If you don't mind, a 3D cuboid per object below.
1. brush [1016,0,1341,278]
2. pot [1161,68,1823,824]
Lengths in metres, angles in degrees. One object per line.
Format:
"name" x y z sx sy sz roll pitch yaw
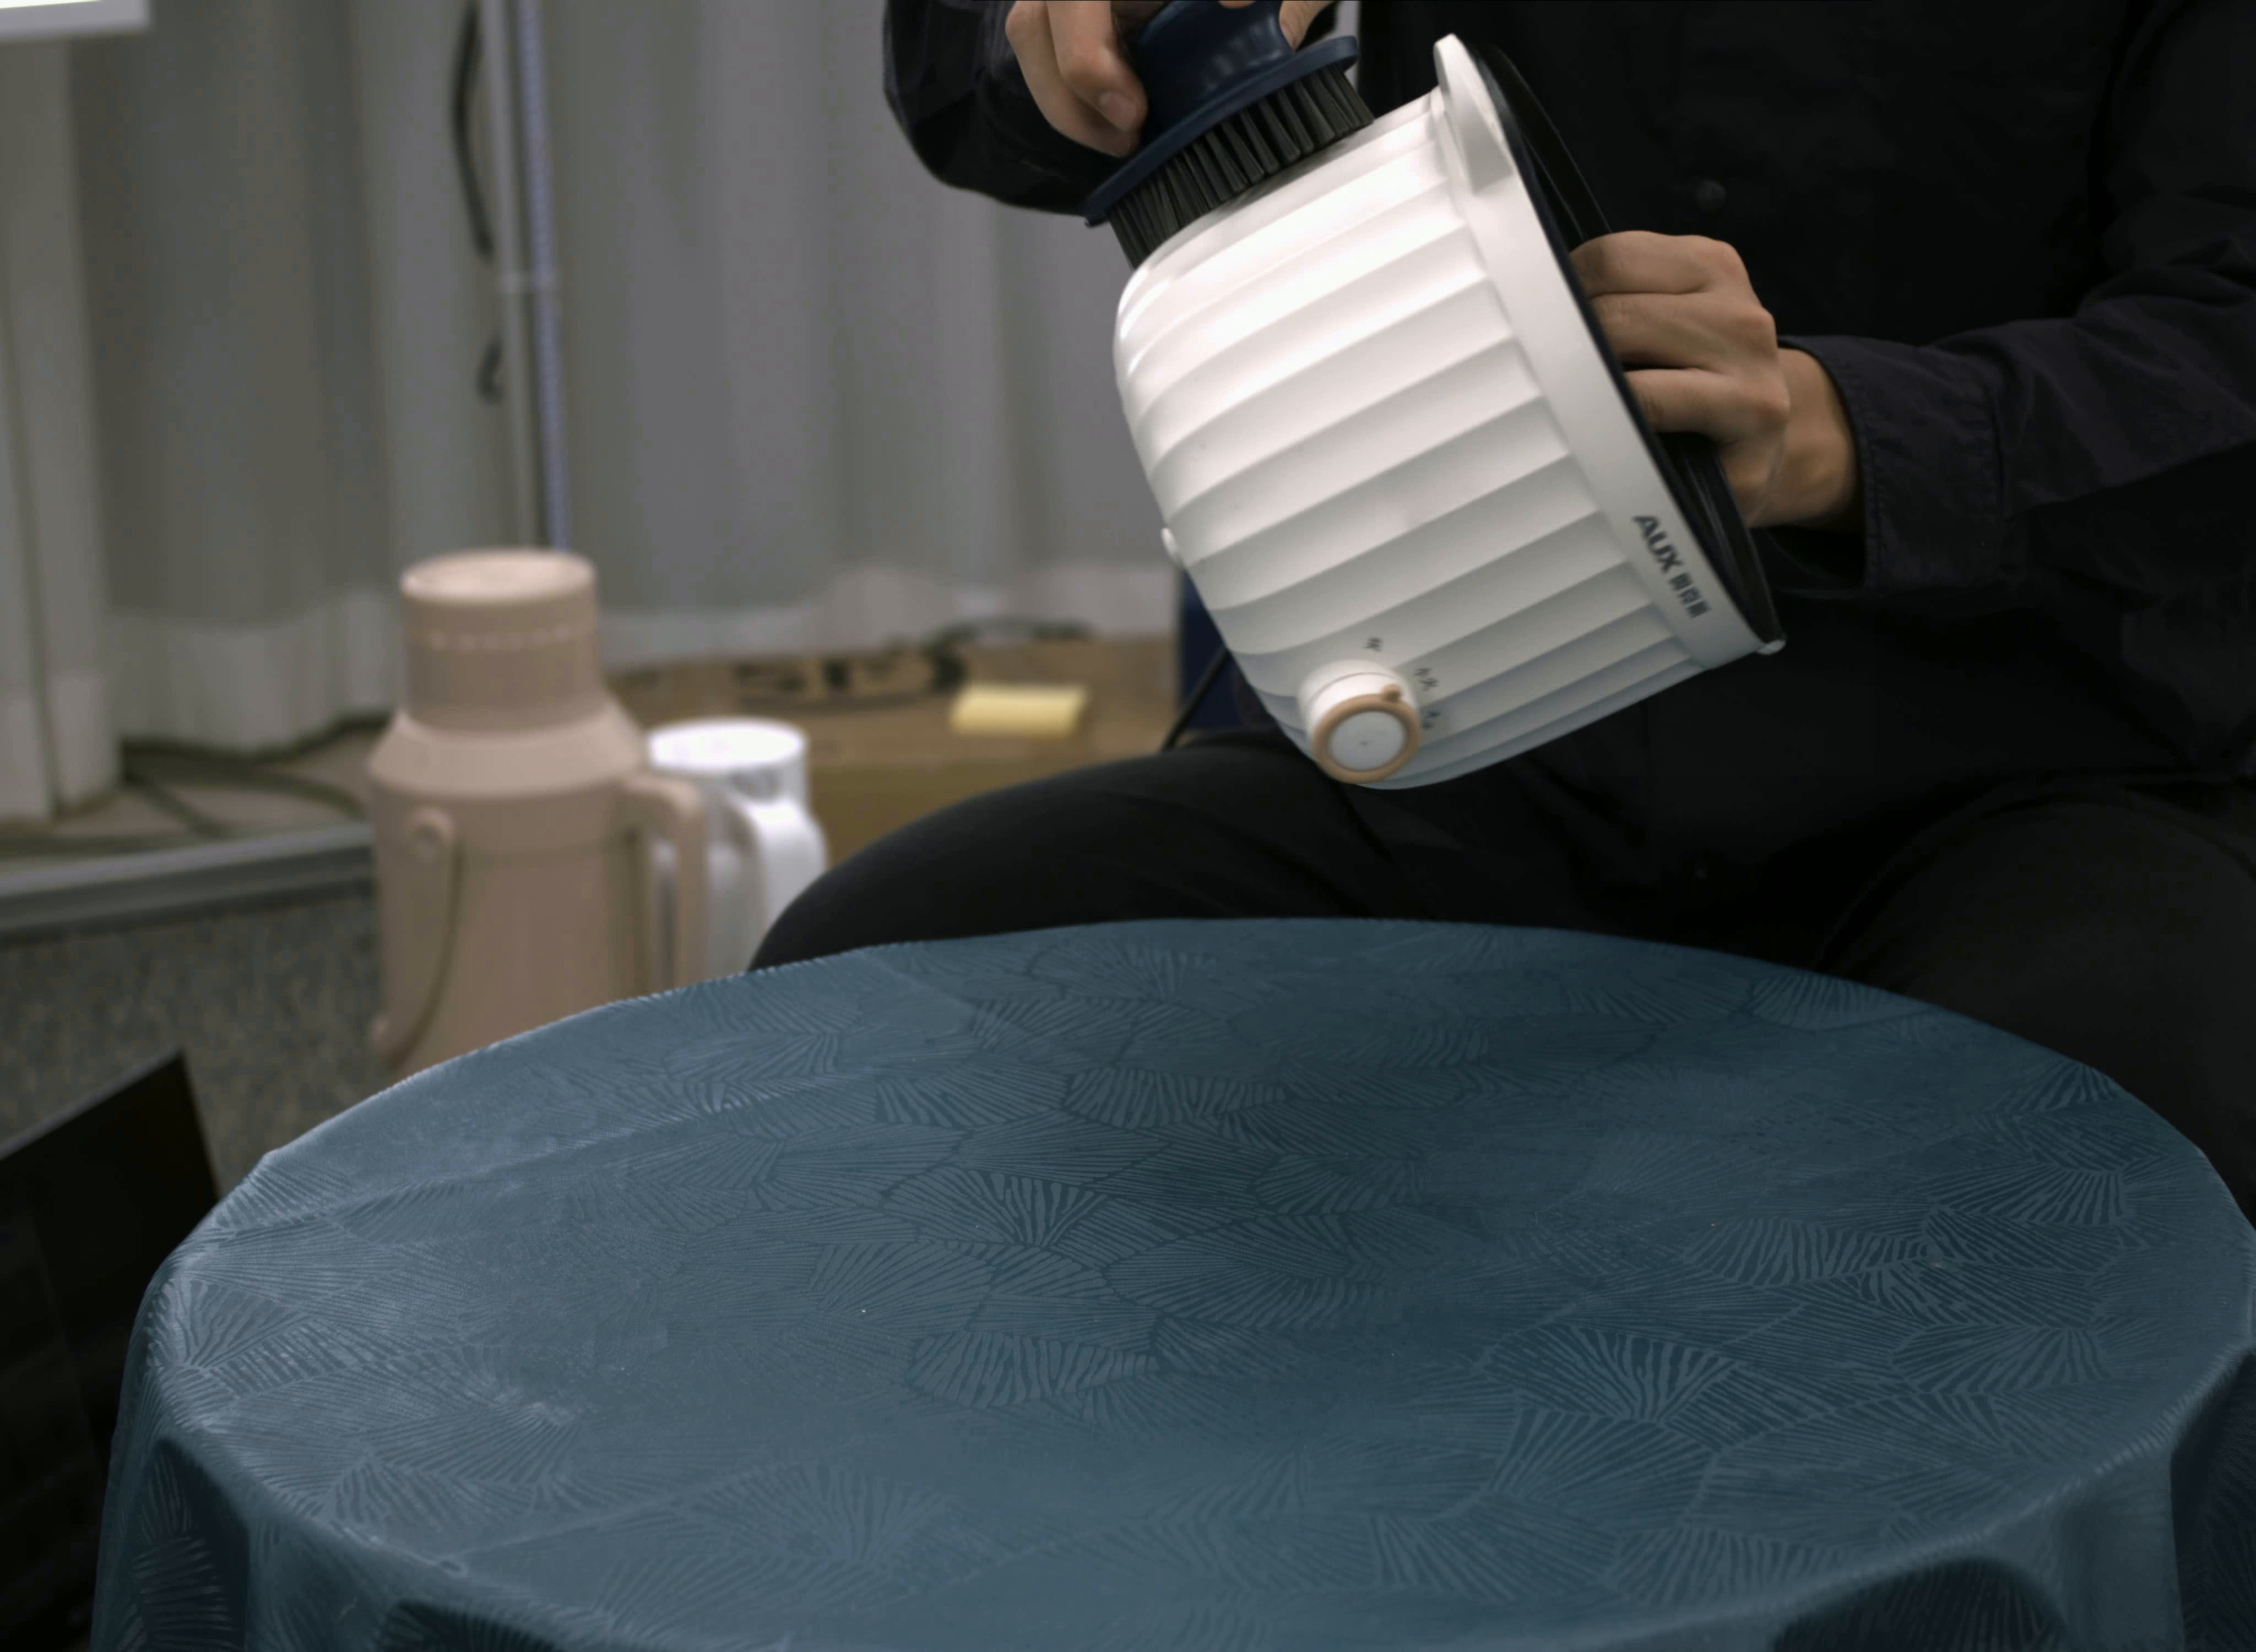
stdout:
"brush" 0.016 -0.197 1.519 0.067 0.061 0.123 -30 3 -20
"pot" 0.098 -0.092 1.497 0.143 0.235 0.193 -28 41 11
